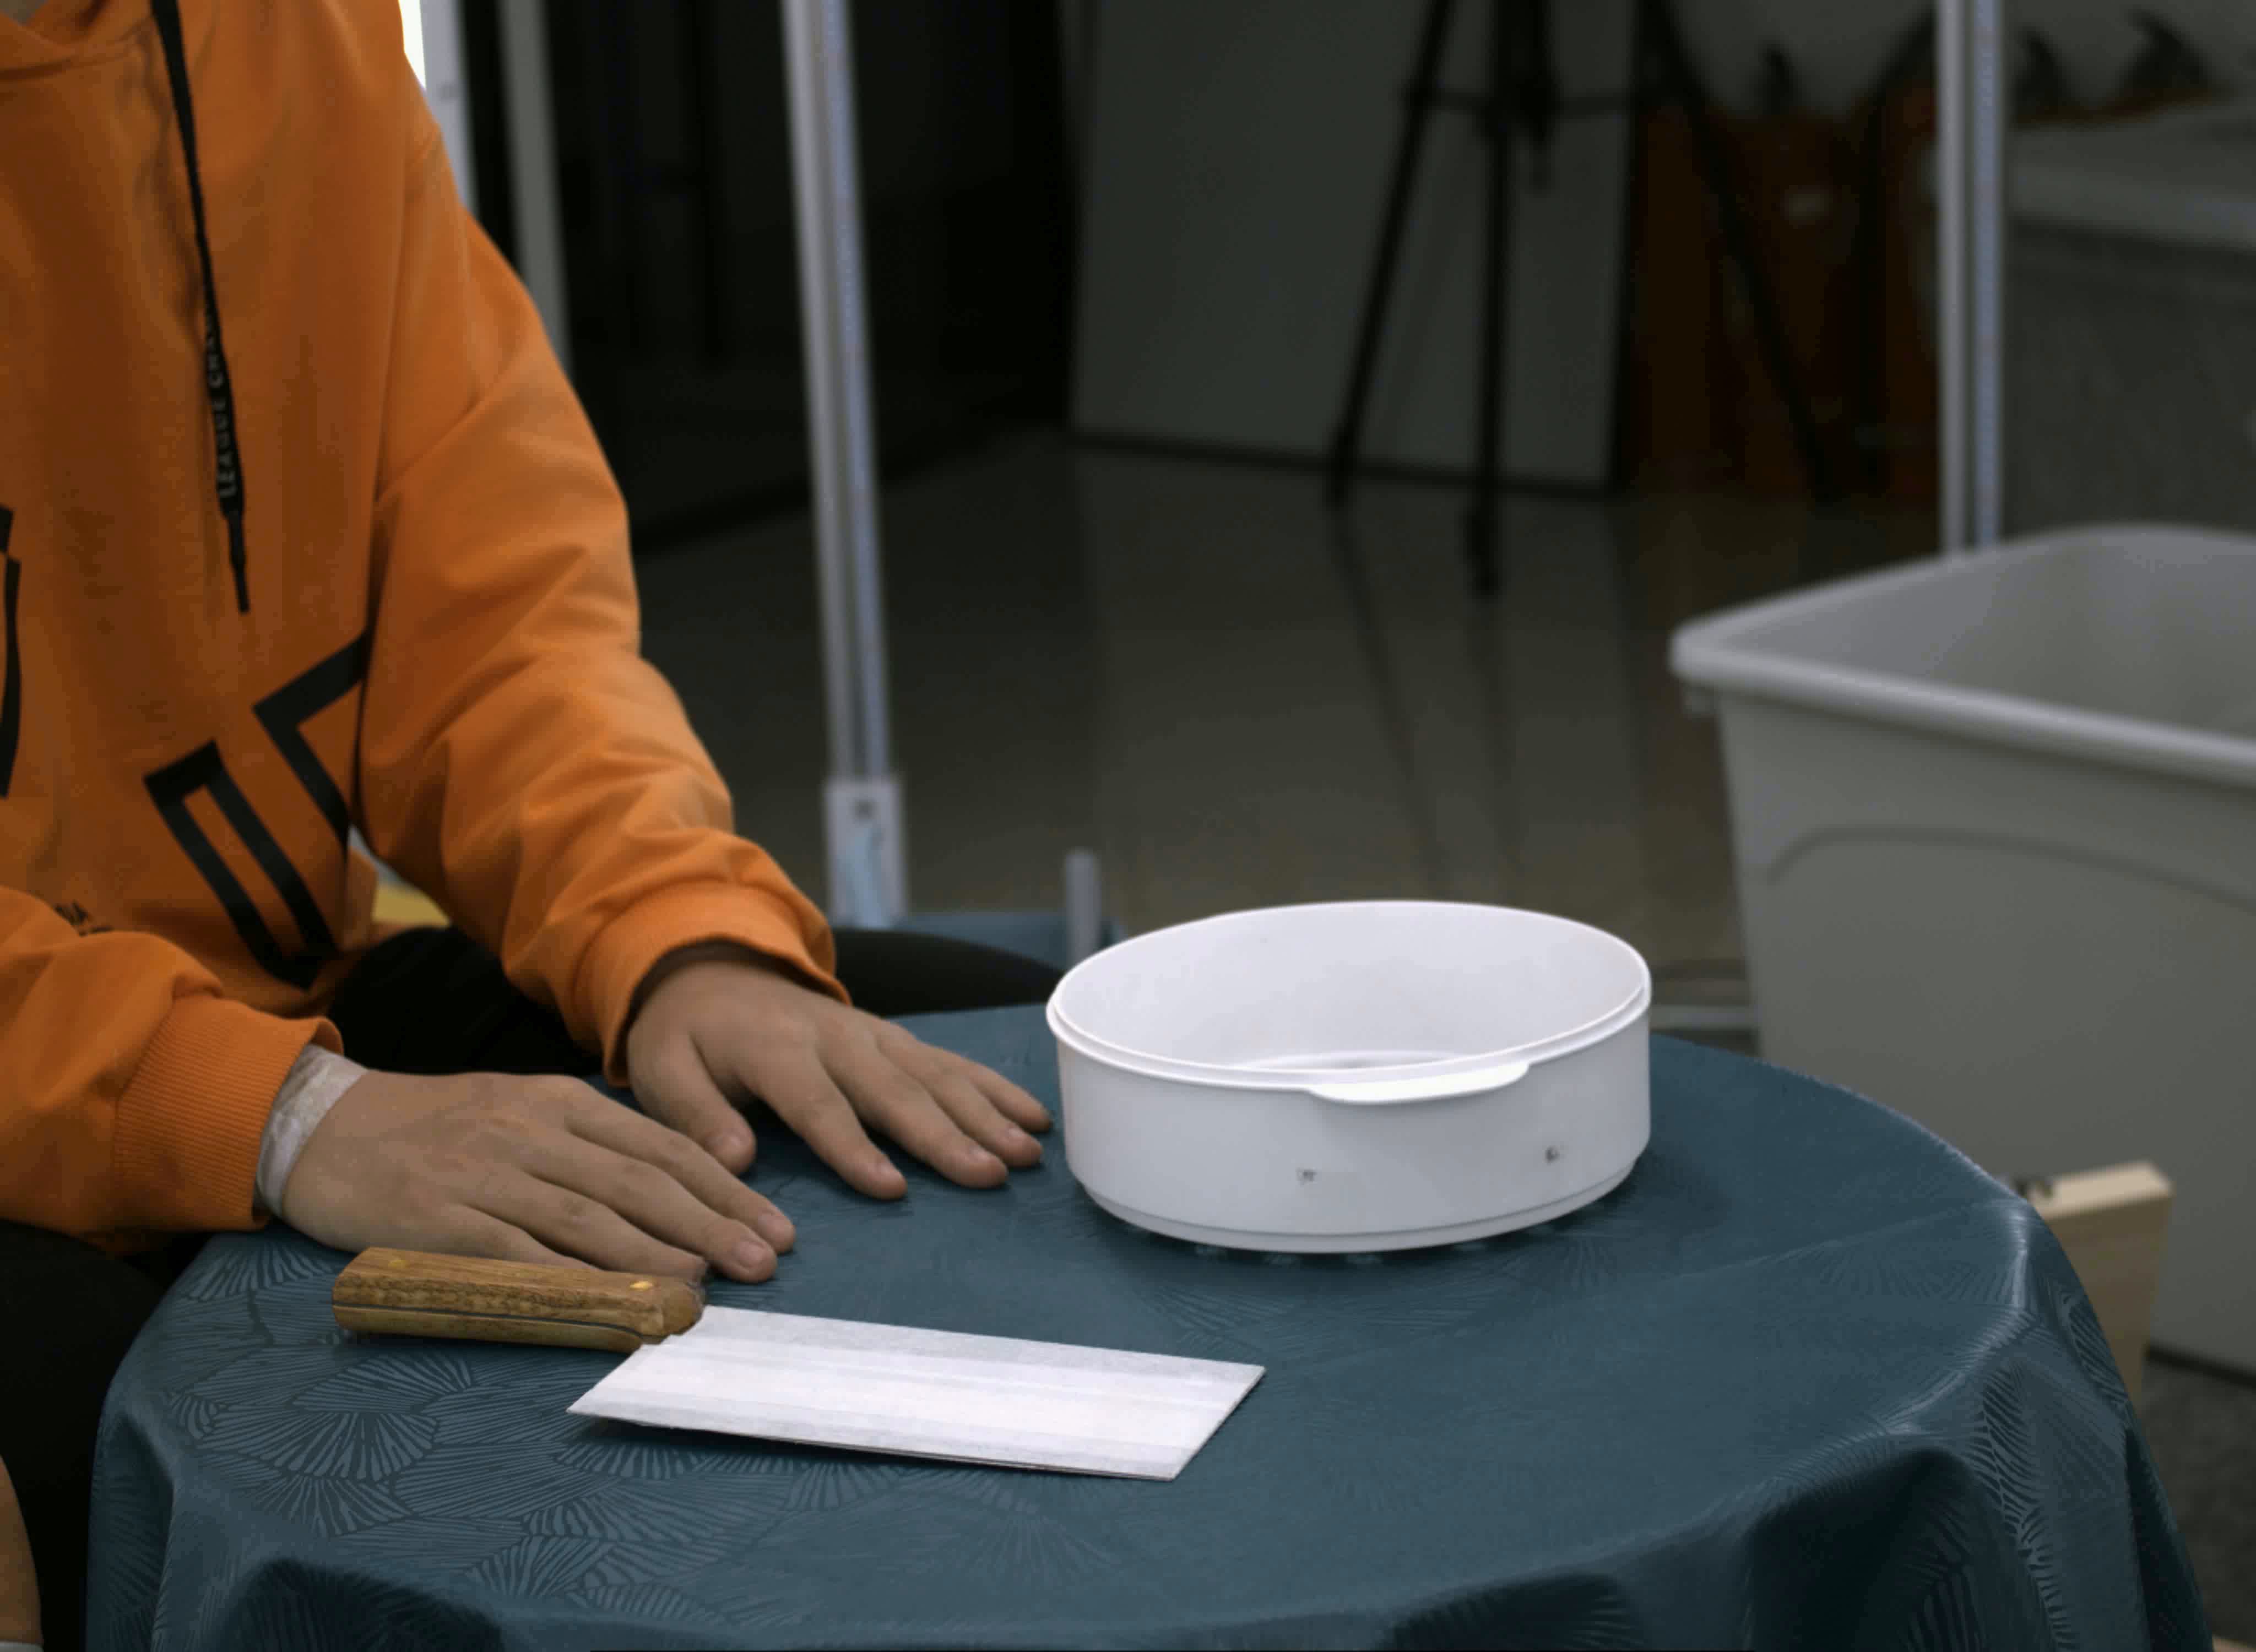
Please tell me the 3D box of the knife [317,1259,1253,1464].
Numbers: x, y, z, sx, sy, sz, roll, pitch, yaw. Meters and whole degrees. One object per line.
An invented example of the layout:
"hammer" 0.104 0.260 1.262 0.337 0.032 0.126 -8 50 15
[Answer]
"knife" -0.114 0.162 1.606 0.305 0.021 0.092 4 17 21

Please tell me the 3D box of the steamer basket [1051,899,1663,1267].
"steamer basket" 0.076 0.083 1.757 0.198 0.070 0.232 -7 16 -8
